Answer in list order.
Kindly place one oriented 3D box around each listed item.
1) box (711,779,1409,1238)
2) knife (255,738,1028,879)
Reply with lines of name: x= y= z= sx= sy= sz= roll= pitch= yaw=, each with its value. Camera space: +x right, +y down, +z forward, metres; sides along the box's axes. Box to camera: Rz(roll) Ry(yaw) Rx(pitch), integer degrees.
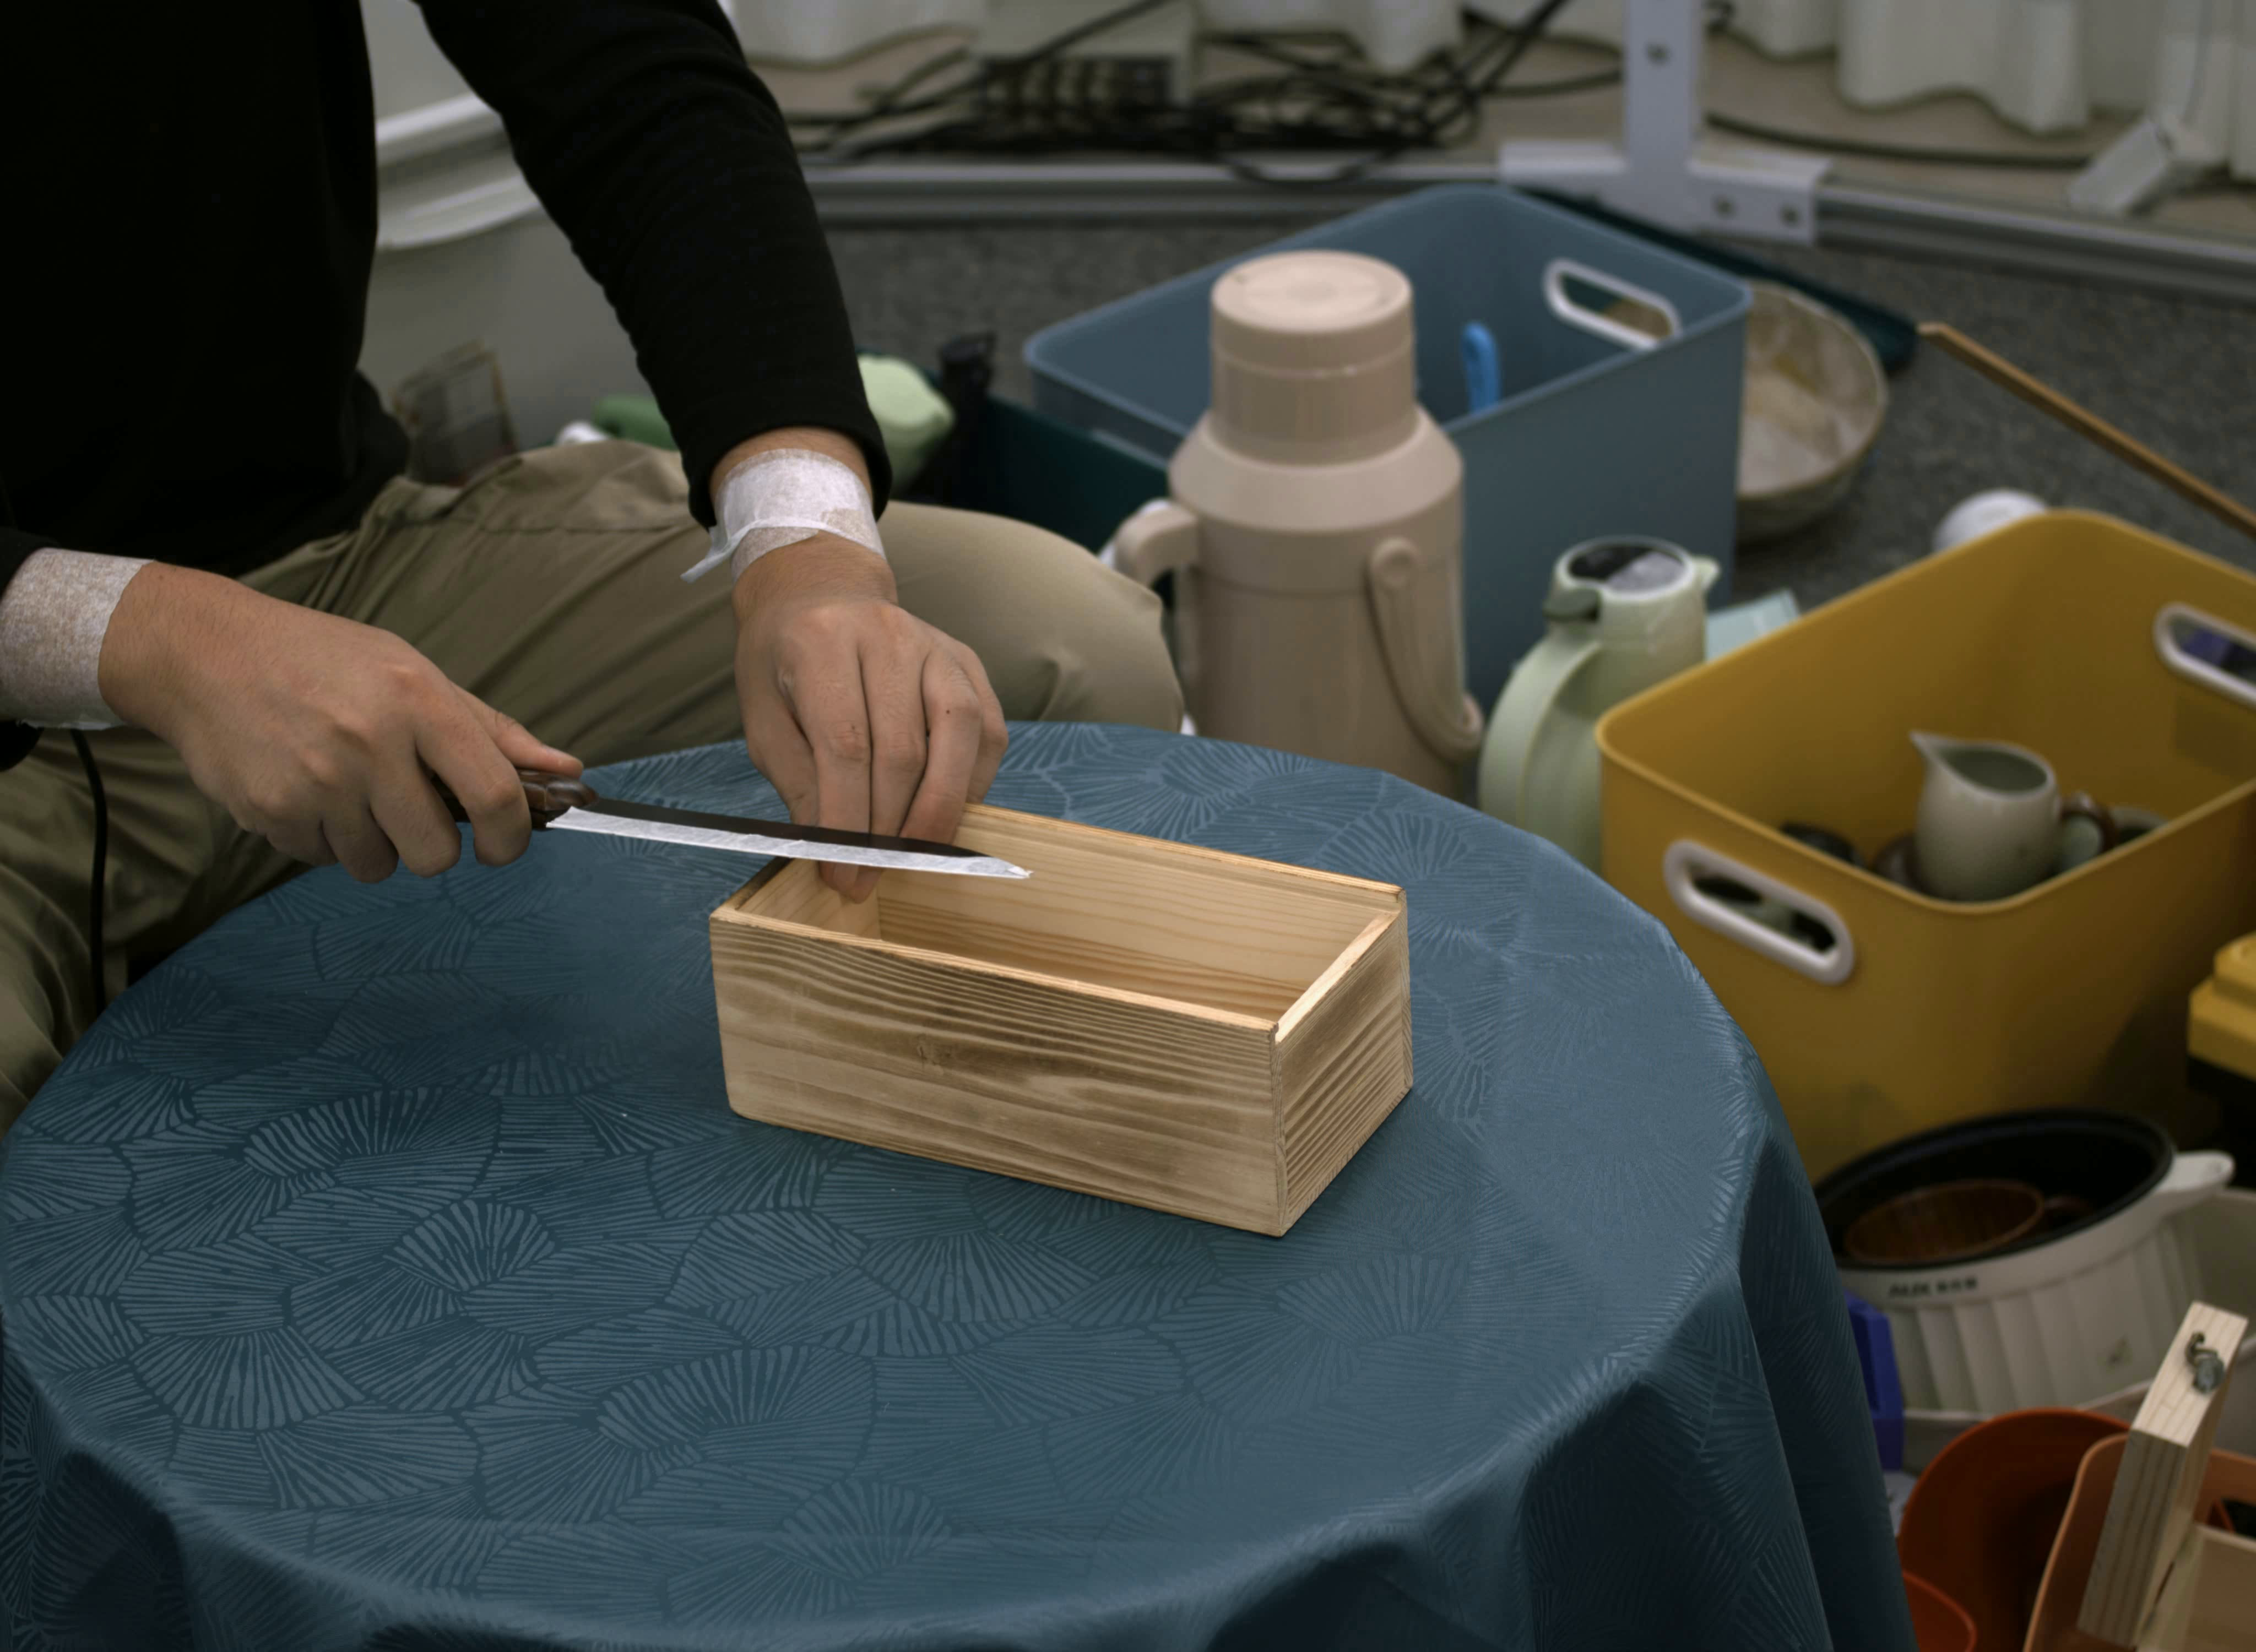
box: x=-0.023 y=0.059 z=1.899 sx=0.210 sy=0.079 sz=0.109 roll=11 pitch=29 yaw=25
knife: x=-0.170 y=-0.002 z=1.925 sx=0.287 sy=0.020 sz=0.051 roll=8 pitch=15 yaw=15
